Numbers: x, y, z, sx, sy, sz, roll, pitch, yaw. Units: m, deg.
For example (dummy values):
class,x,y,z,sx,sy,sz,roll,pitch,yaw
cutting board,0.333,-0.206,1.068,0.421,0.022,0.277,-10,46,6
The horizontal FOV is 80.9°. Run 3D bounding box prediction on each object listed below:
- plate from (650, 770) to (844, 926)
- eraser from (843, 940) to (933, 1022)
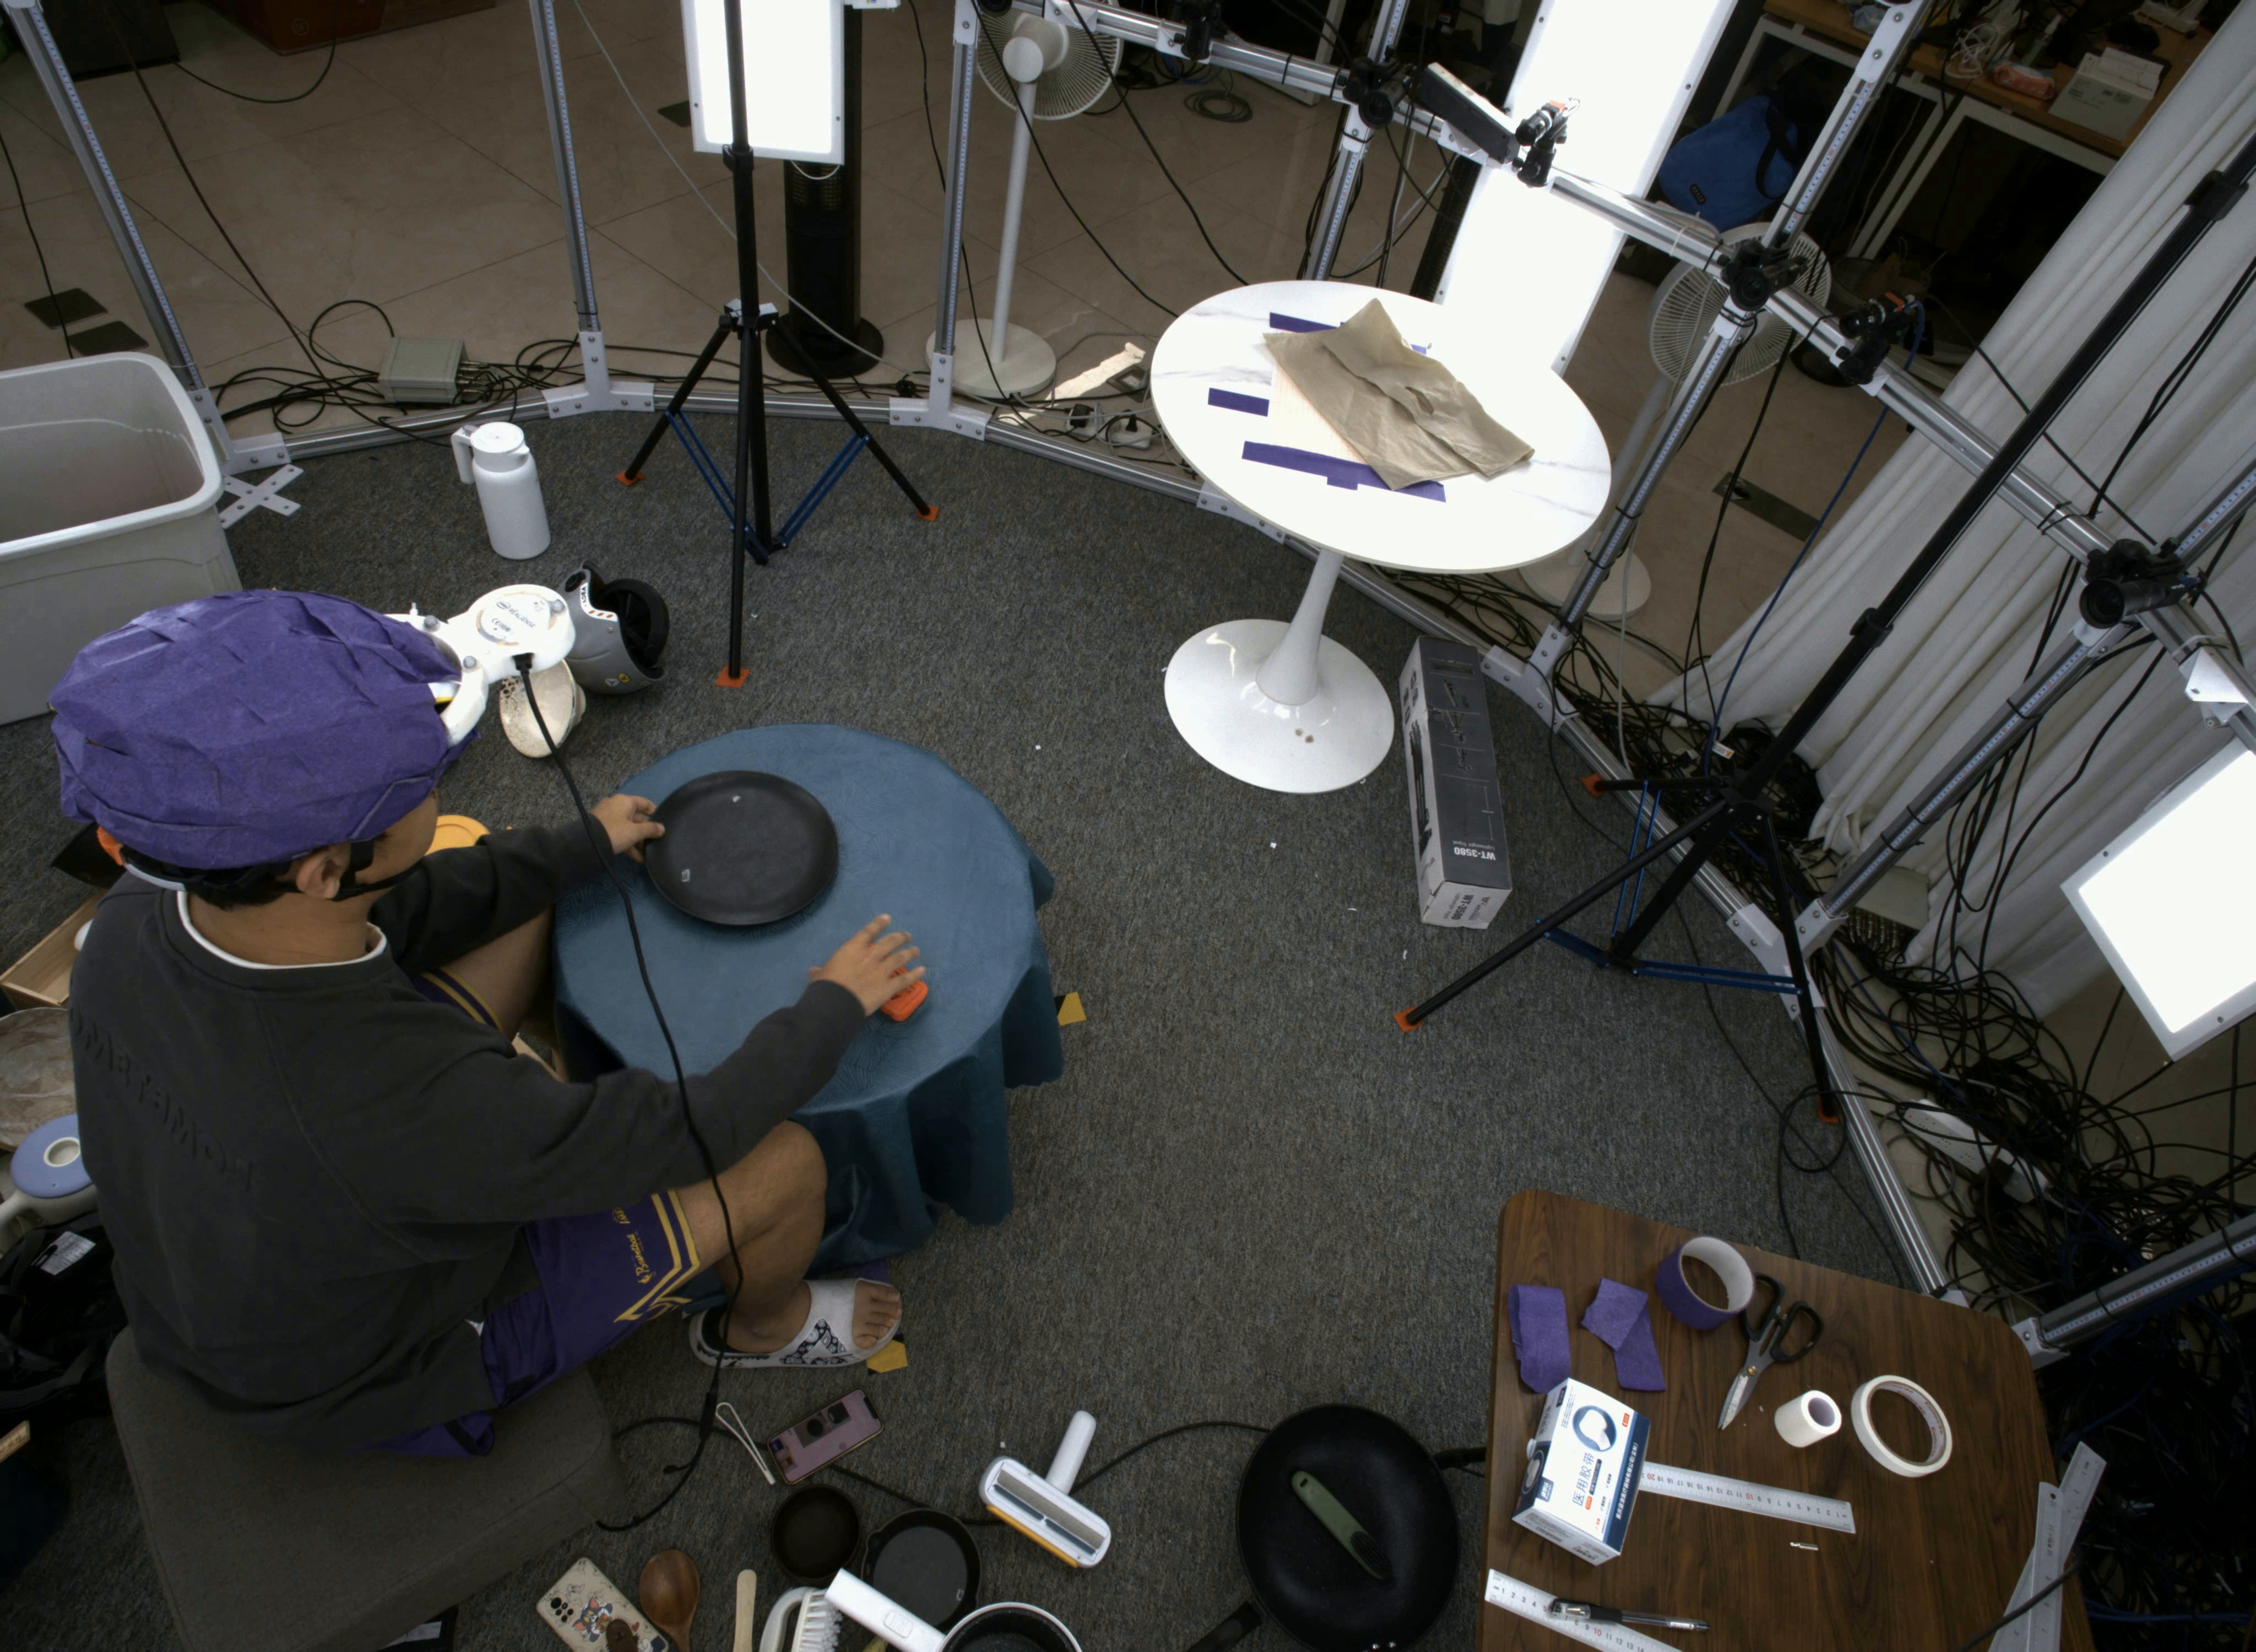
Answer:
class,x,y,z,sx,sy,sz,roll,pitch,yaw
plate,-0.490,0.028,1.668,0.245,0.024,0.240,10,53,-12
eraser,-0.296,0.188,1.603,0.106,0.023,0.059,34,52,14
